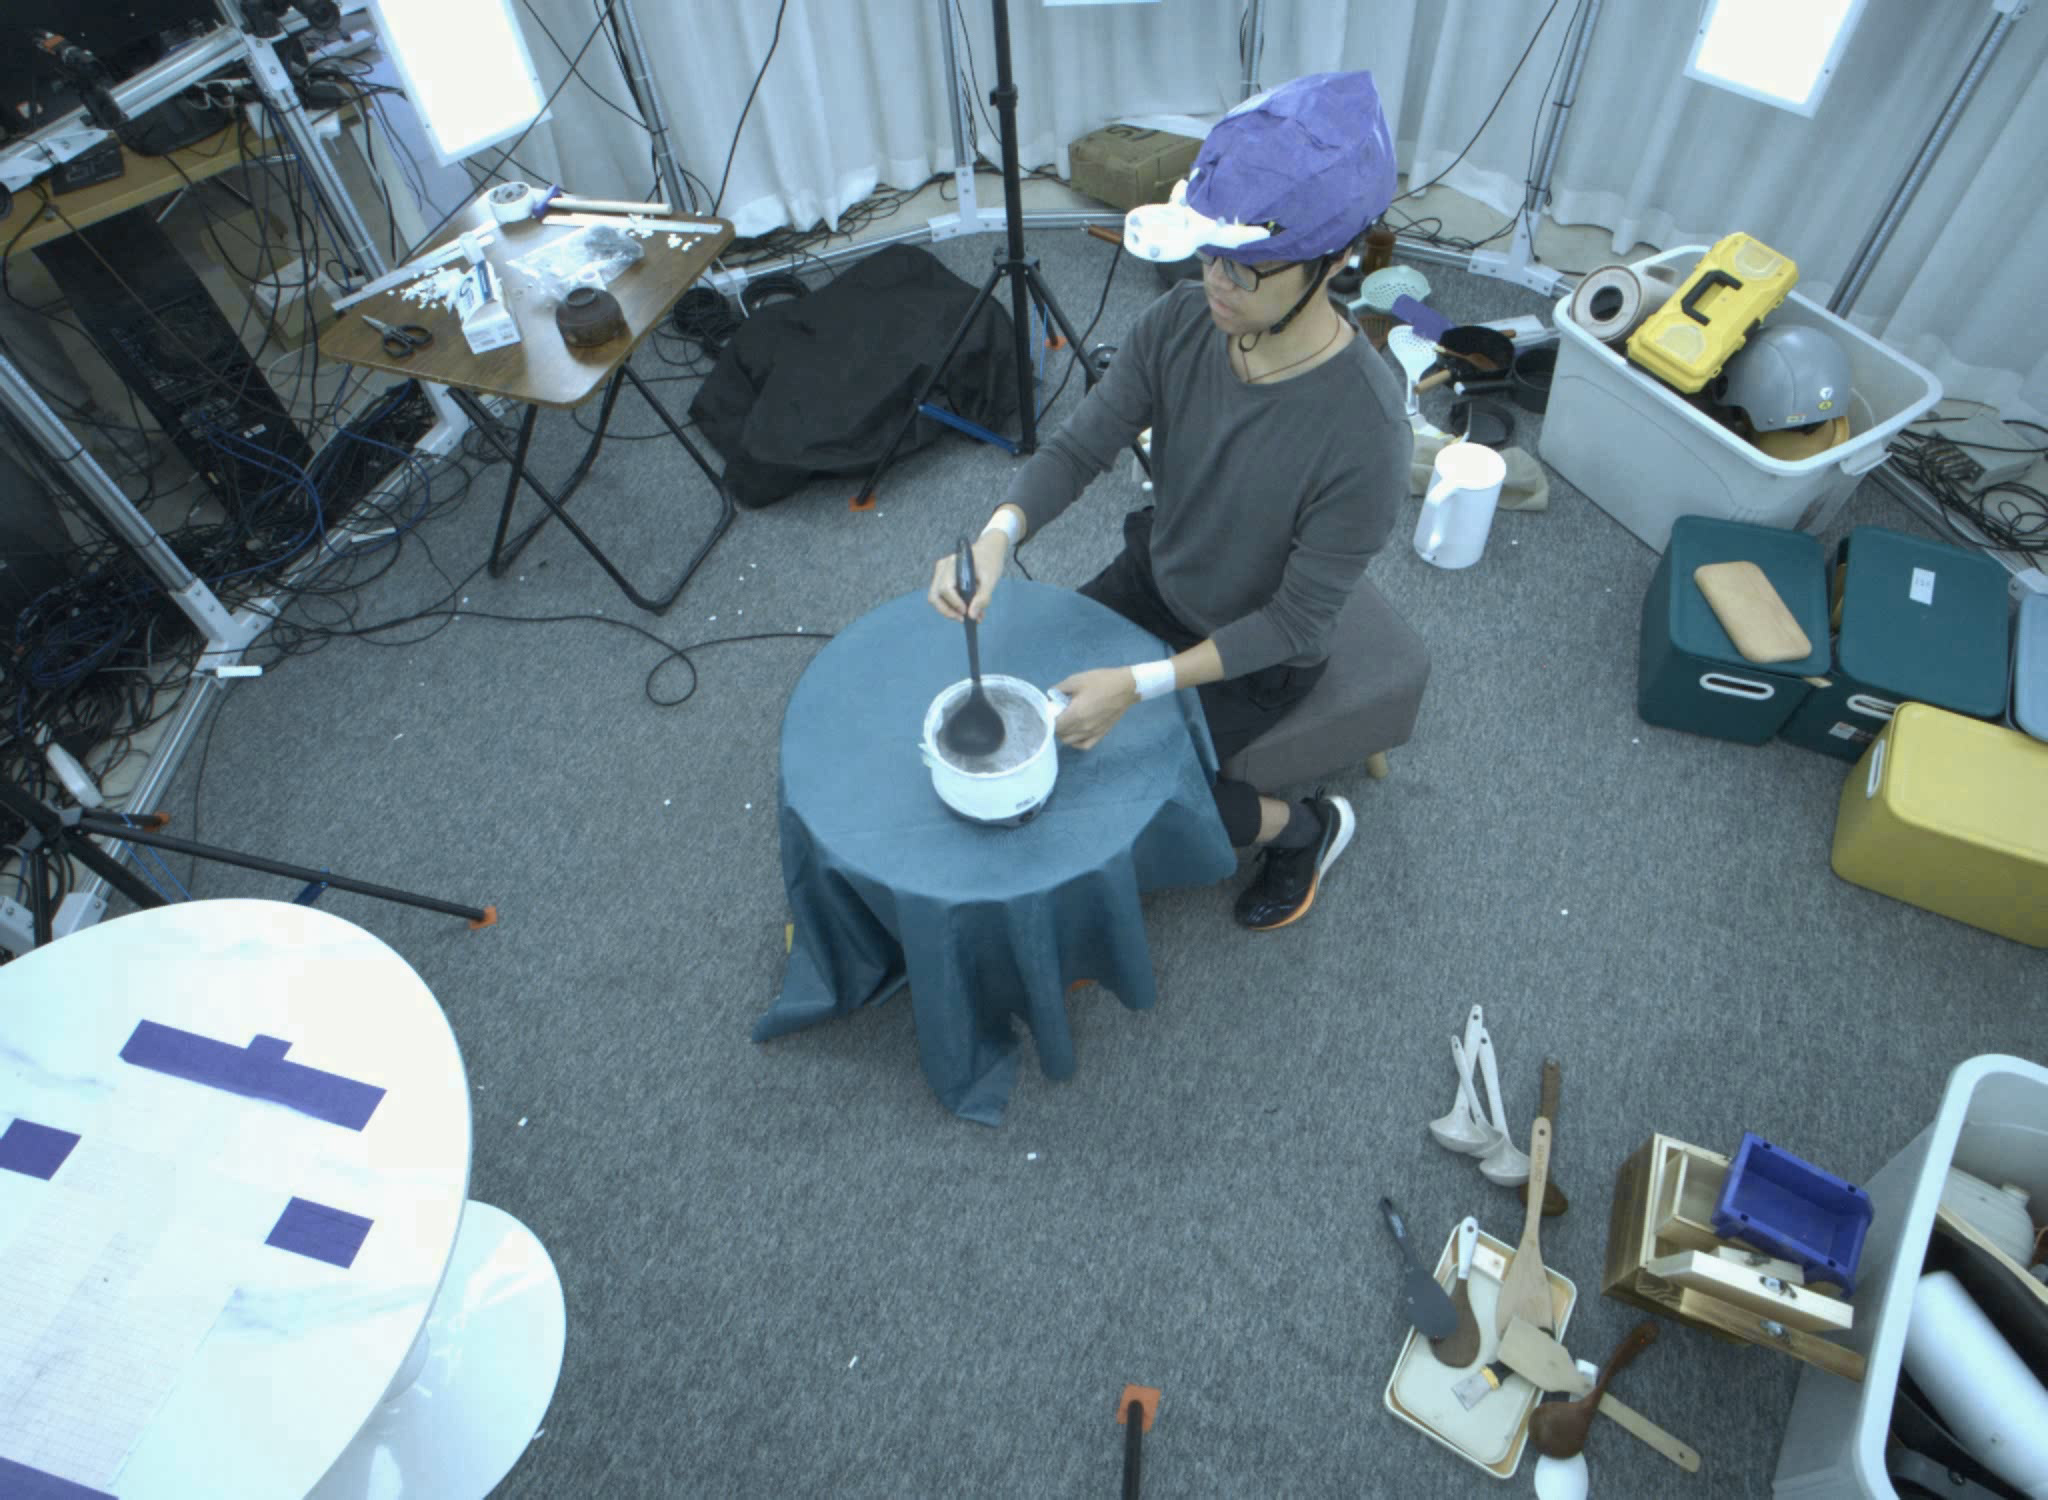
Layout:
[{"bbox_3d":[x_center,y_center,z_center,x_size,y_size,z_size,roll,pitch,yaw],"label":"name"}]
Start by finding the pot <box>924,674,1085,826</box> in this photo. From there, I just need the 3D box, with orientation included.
[{"bbox_3d":[-0.020,-0.009,1.717,0.236,0.138,0.175,-28,58,-18],"label":"pot"}]

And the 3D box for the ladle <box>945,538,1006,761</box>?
[{"bbox_3d":[-0.073,-0.127,1.622,0.086,0.317,0.063,1,36,6],"label":"ladle"}]
